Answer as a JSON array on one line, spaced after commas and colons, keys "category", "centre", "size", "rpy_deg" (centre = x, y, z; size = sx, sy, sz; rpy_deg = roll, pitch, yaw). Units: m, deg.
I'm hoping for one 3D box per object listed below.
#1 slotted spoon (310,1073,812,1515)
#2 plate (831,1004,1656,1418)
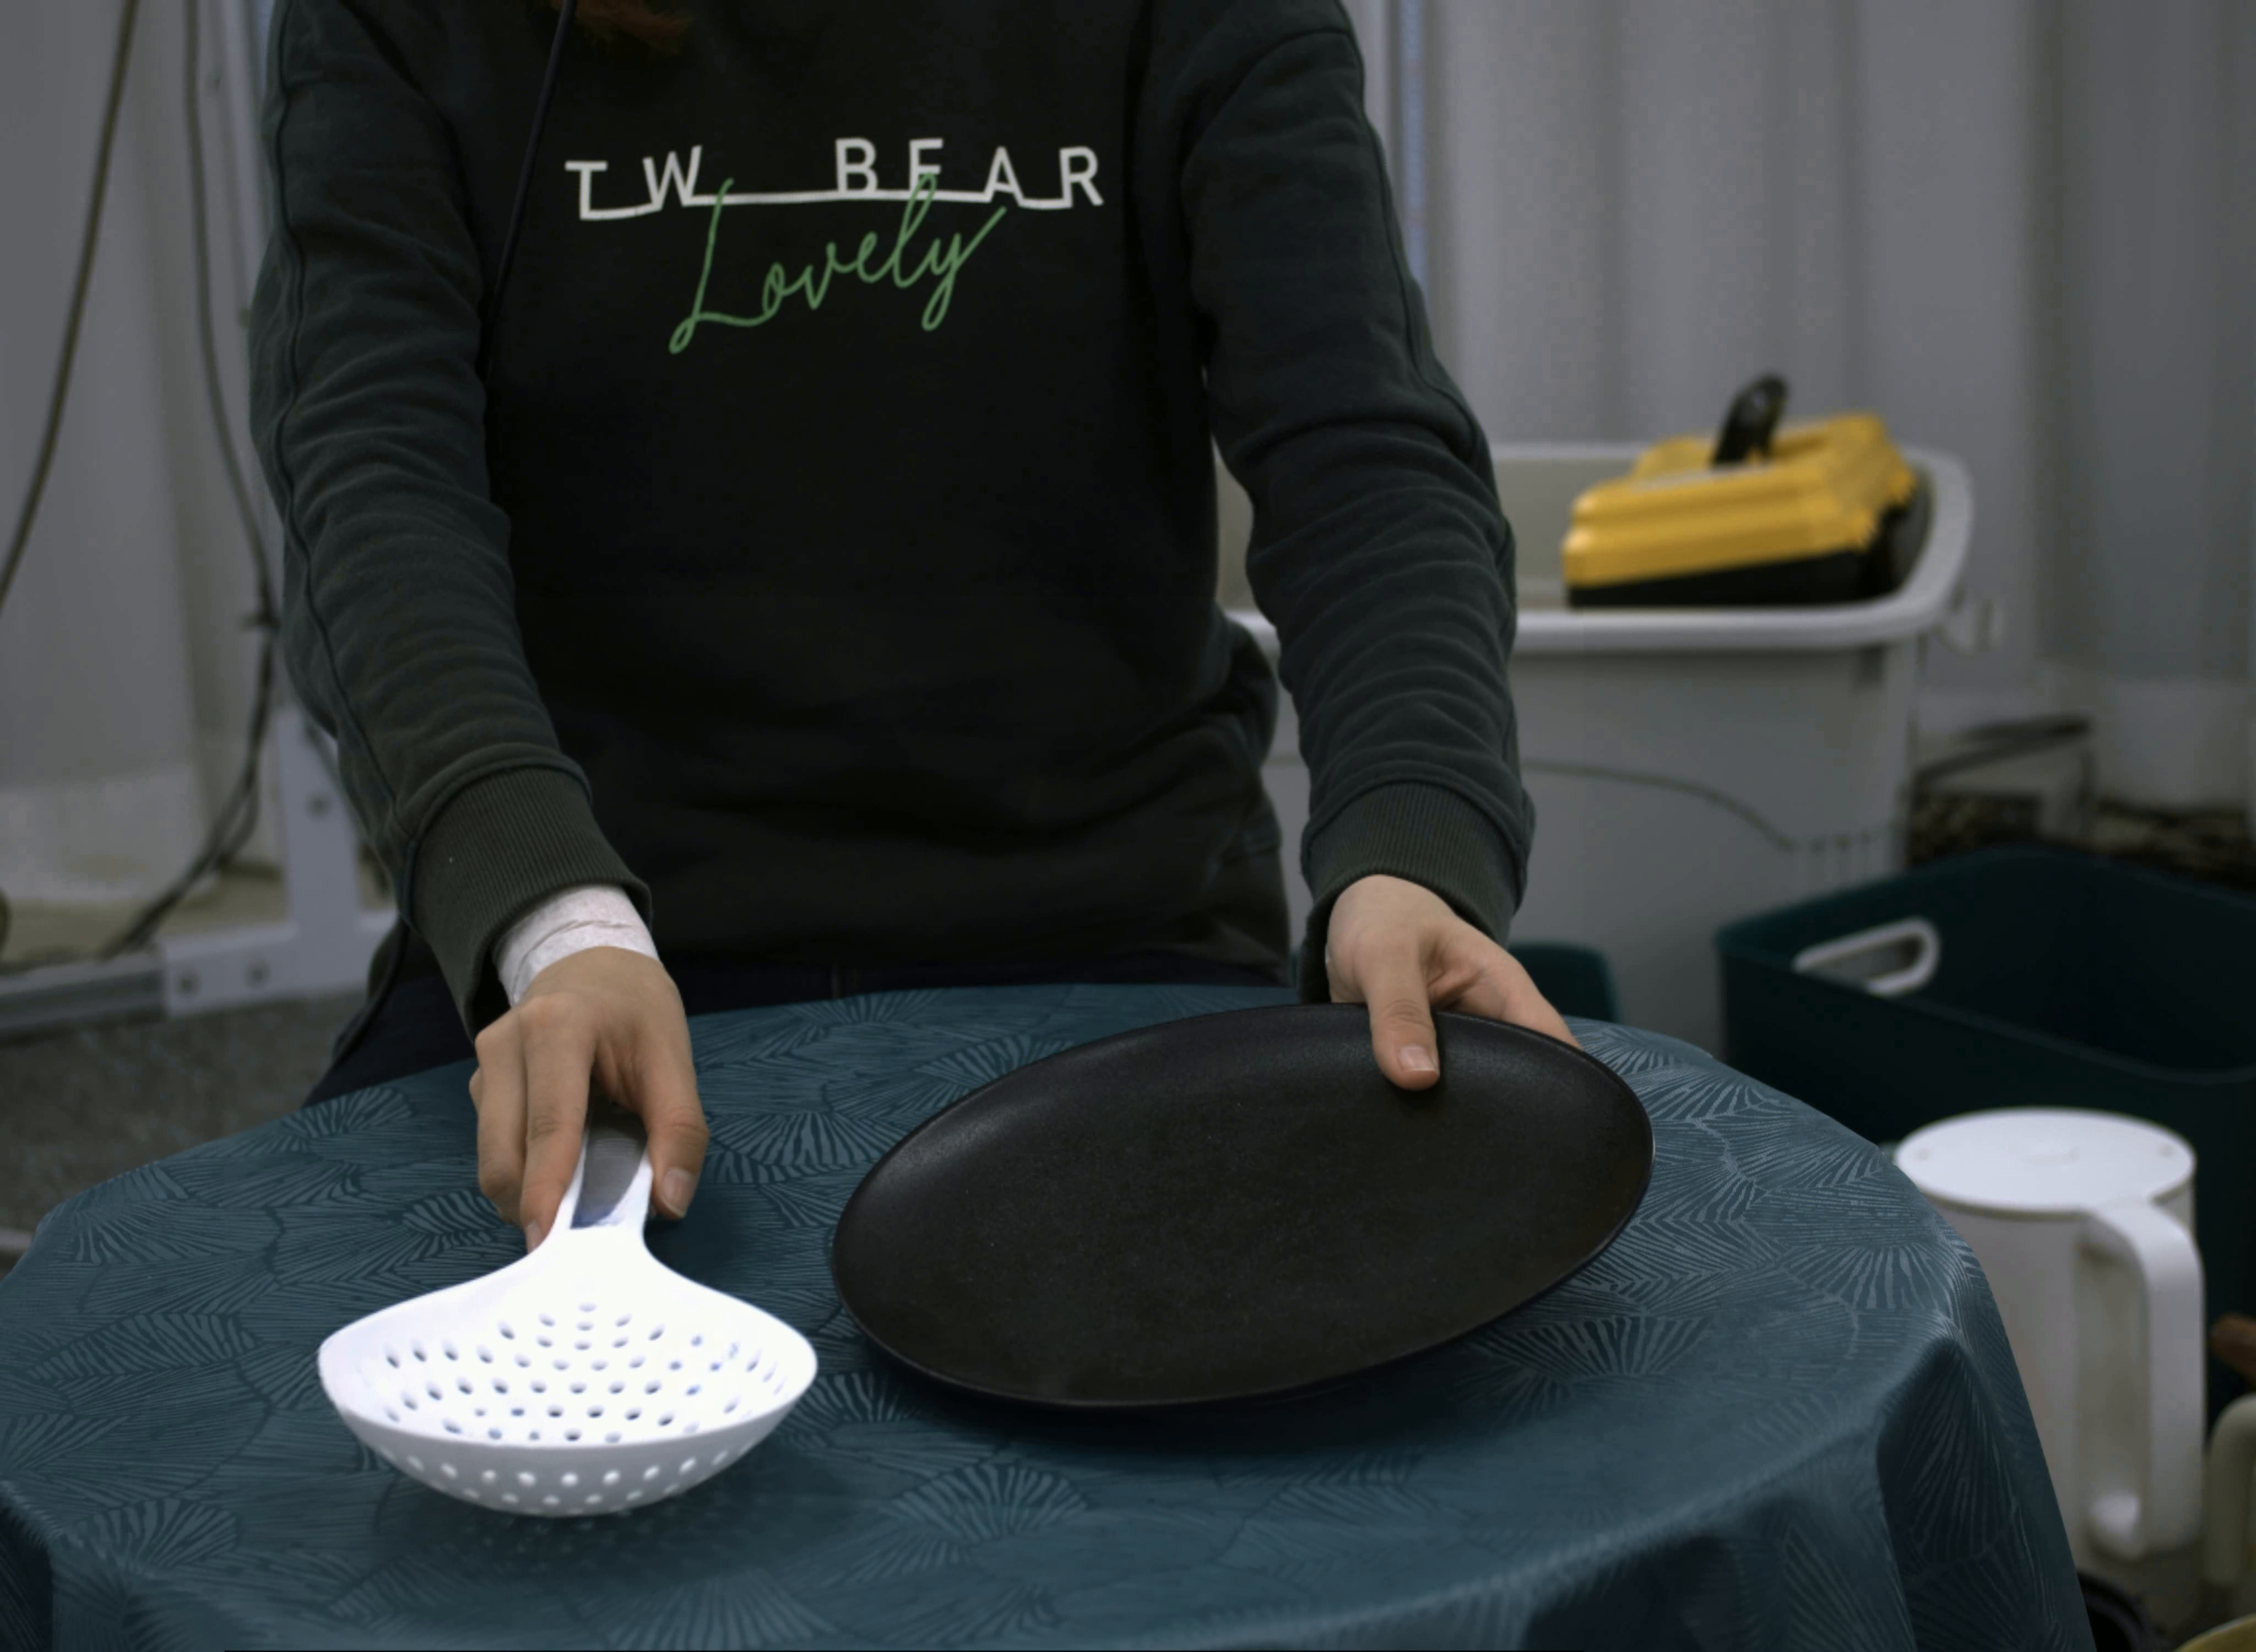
[{"category": "slotted spoon", "centre": [-0.155, 0.126, 1.584], "size": [0.135, 0.045, 0.352], "rpy_deg": [2, 18, -1]}, {"category": "plate", "centre": [0.034, 0.116, 1.596], "size": [0.243, 0.023, 0.247], "rpy_deg": [-9, 23, 3]}]
